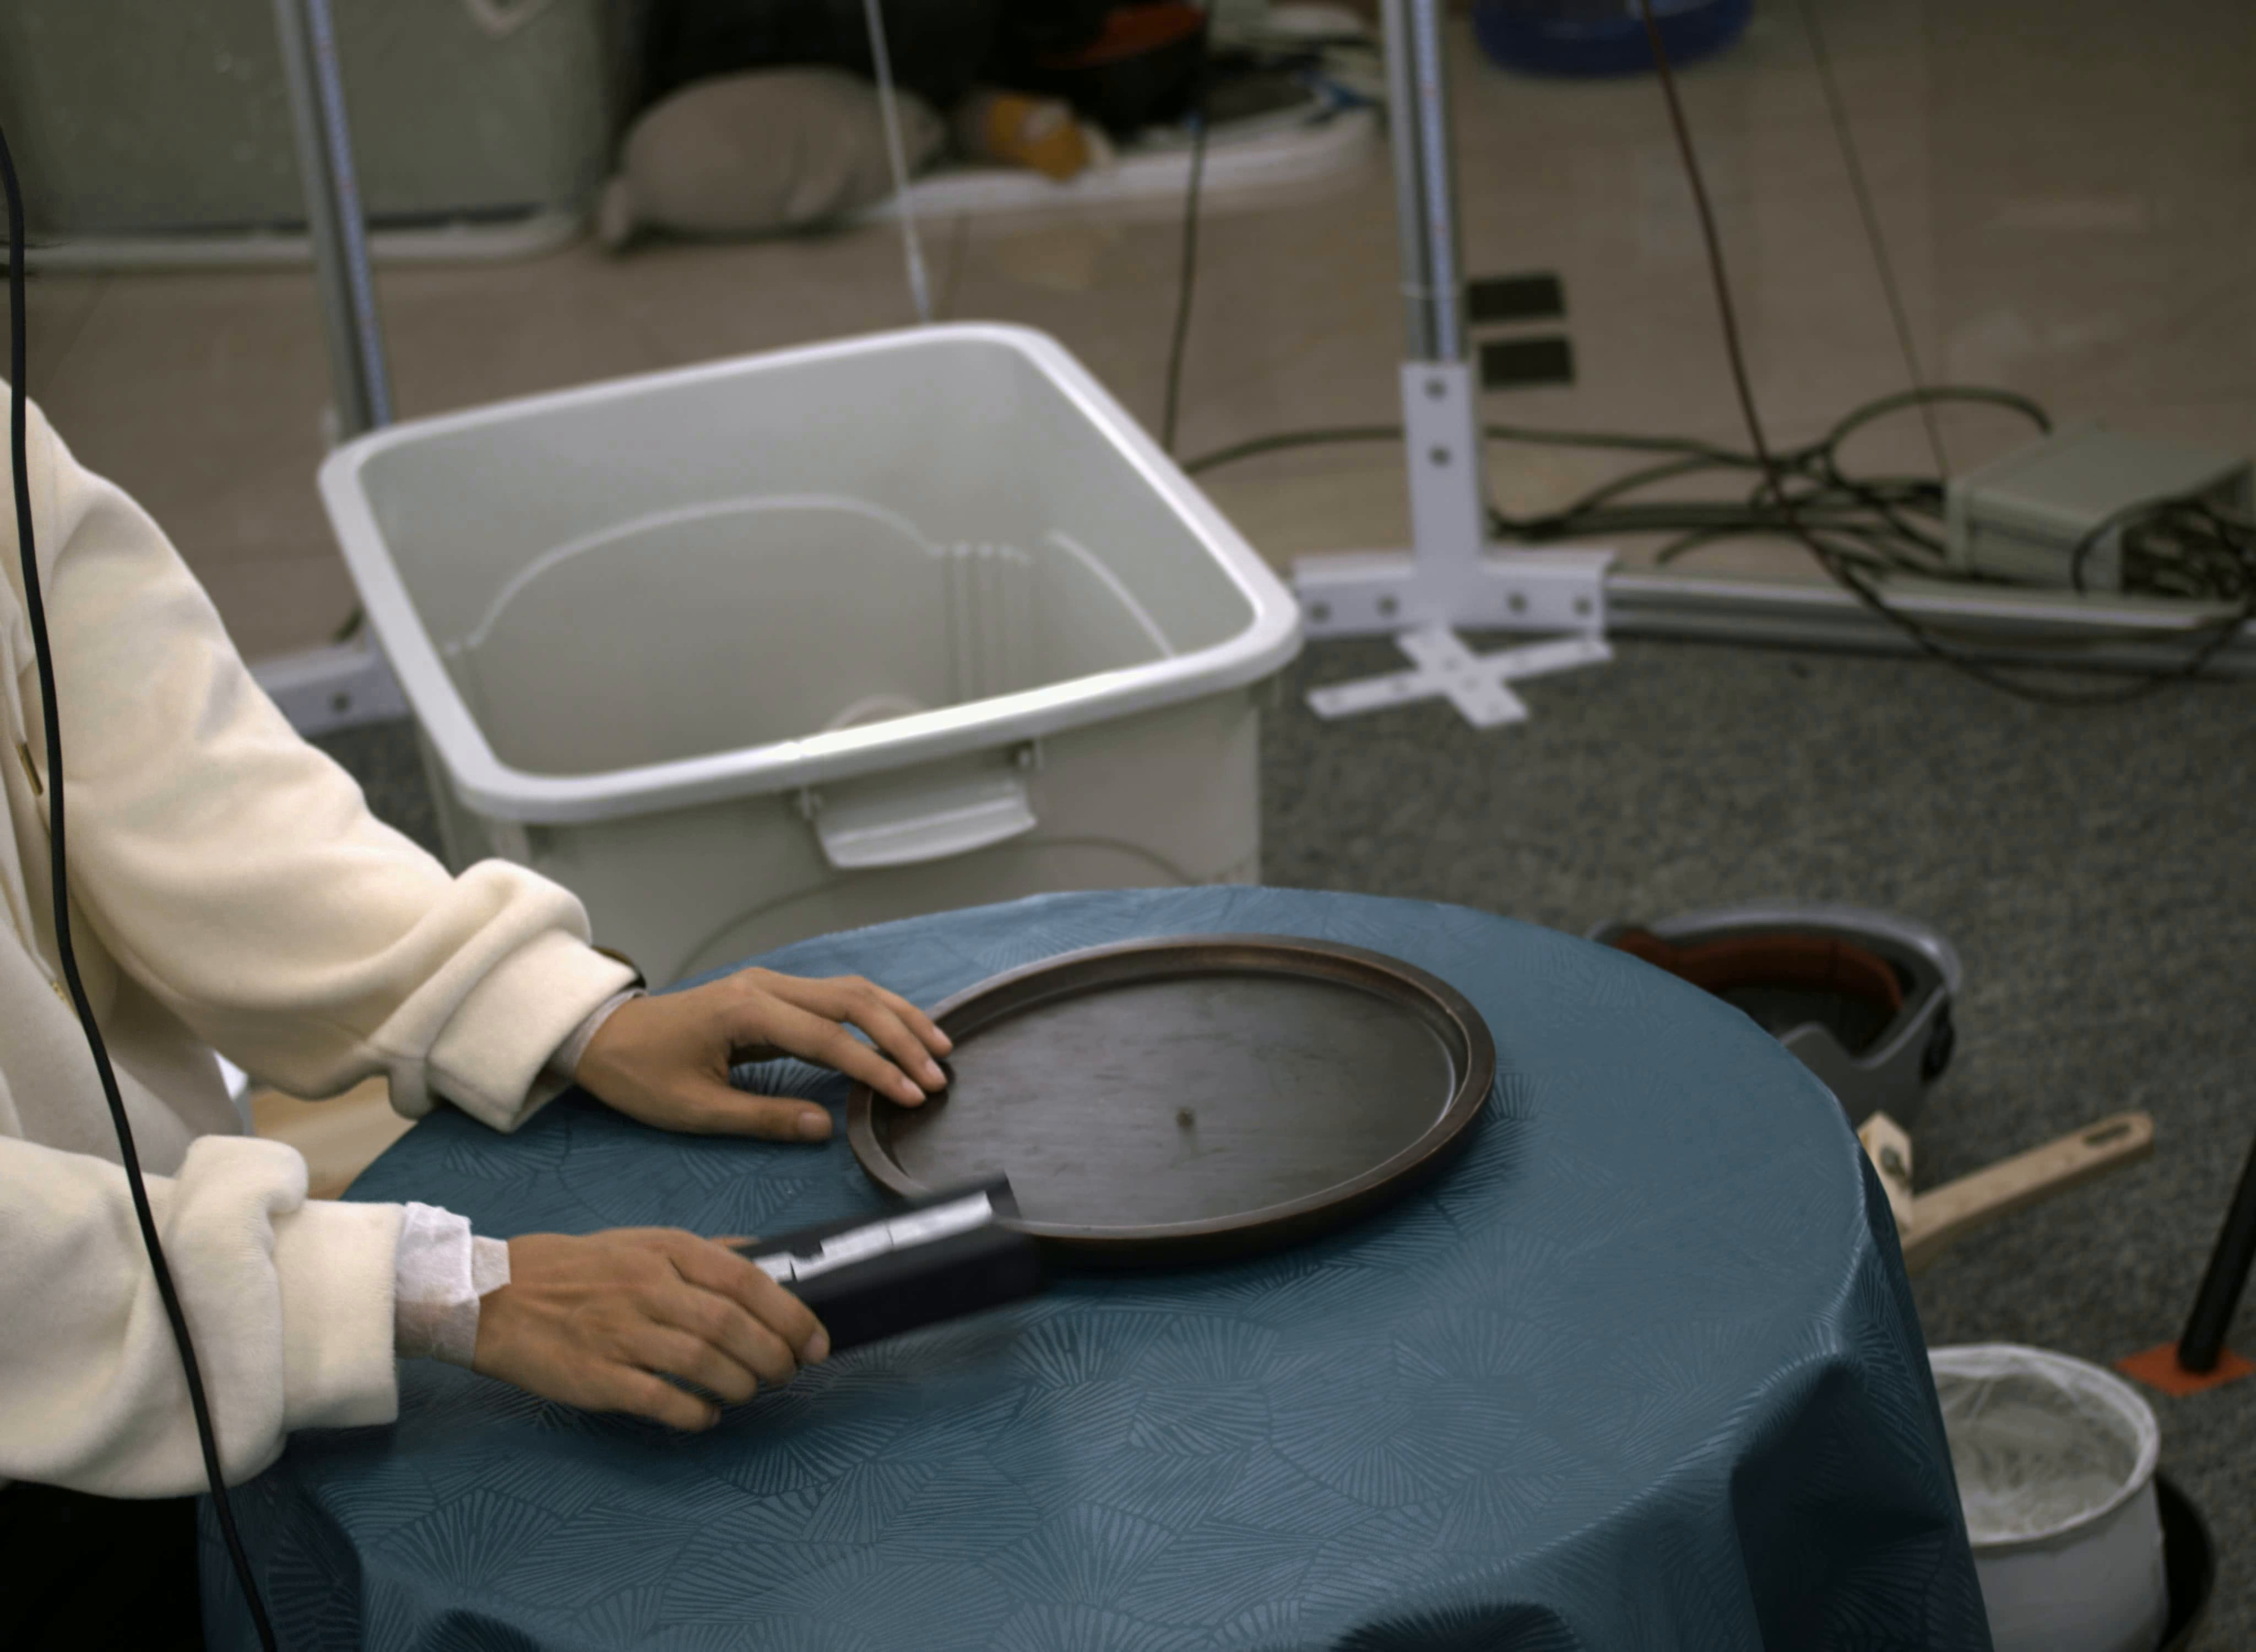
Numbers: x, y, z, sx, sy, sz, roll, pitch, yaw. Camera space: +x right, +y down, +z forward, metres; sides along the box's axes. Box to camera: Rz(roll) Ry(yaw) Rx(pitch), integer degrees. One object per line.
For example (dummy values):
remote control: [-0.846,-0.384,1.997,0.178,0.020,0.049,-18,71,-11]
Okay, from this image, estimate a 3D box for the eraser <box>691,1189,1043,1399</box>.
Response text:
eraser: [-0.093,0.167,2.034,0.125,0.031,0.053,-16,26,1]

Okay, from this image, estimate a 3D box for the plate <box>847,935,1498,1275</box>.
plate: [0.017,0.106,2.187,0.254,0.029,0.251,-4,25,2]
